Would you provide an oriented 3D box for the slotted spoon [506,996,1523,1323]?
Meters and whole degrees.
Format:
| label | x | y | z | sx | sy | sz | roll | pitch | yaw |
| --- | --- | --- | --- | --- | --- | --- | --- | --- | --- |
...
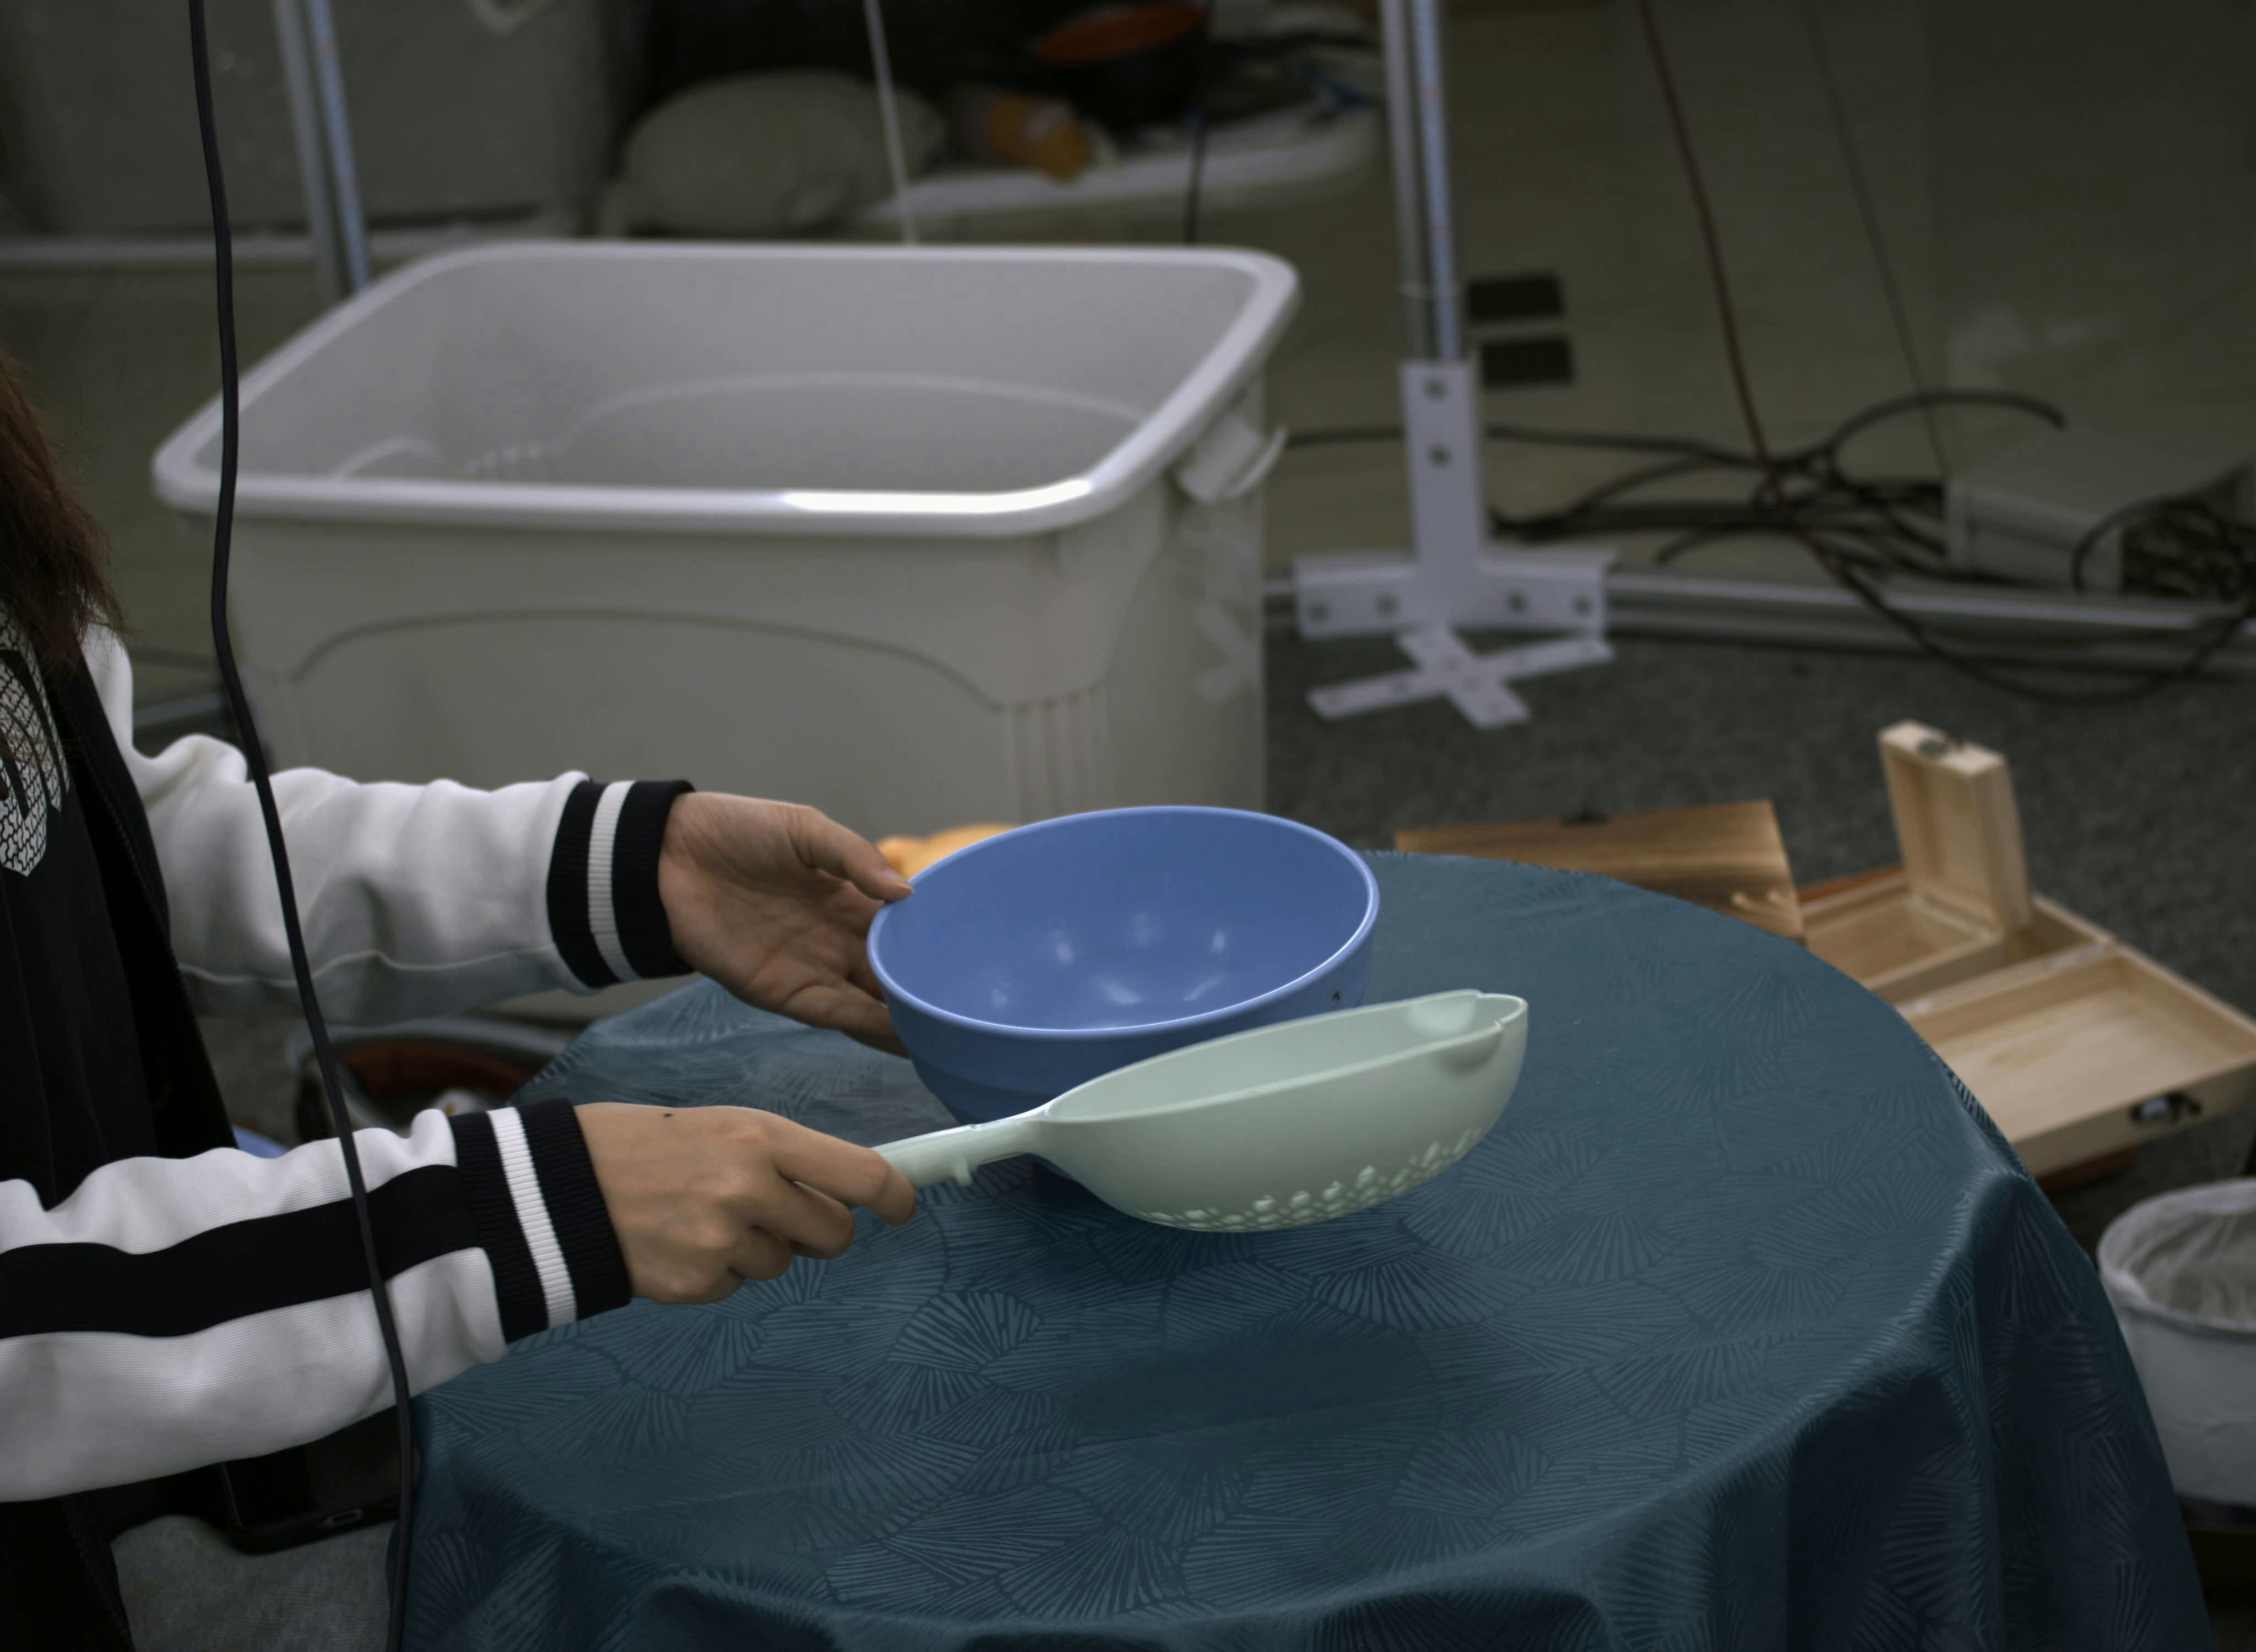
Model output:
| label | x | y | z | sx | sy | sz | roll | pitch | yaw |
| --- | --- | --- | --- | --- | --- | --- | --- | --- | --- |
| slotted spoon | -0.040 | 0.115 | 1.945 | 0.358 | 0.075 | 0.169 | -6 | 1 | 1 |

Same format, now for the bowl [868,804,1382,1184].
| label | x | y | z | sx | sy | sz | roll | pitch | yaw |
| --- | --- | --- | --- | --- | --- | --- | --- | --- | --- |
| bowl | 0.003 | 0.076 | 2.169 | 0.196 | 0.097 | 0.193 | -5 | 26 | 3 |
